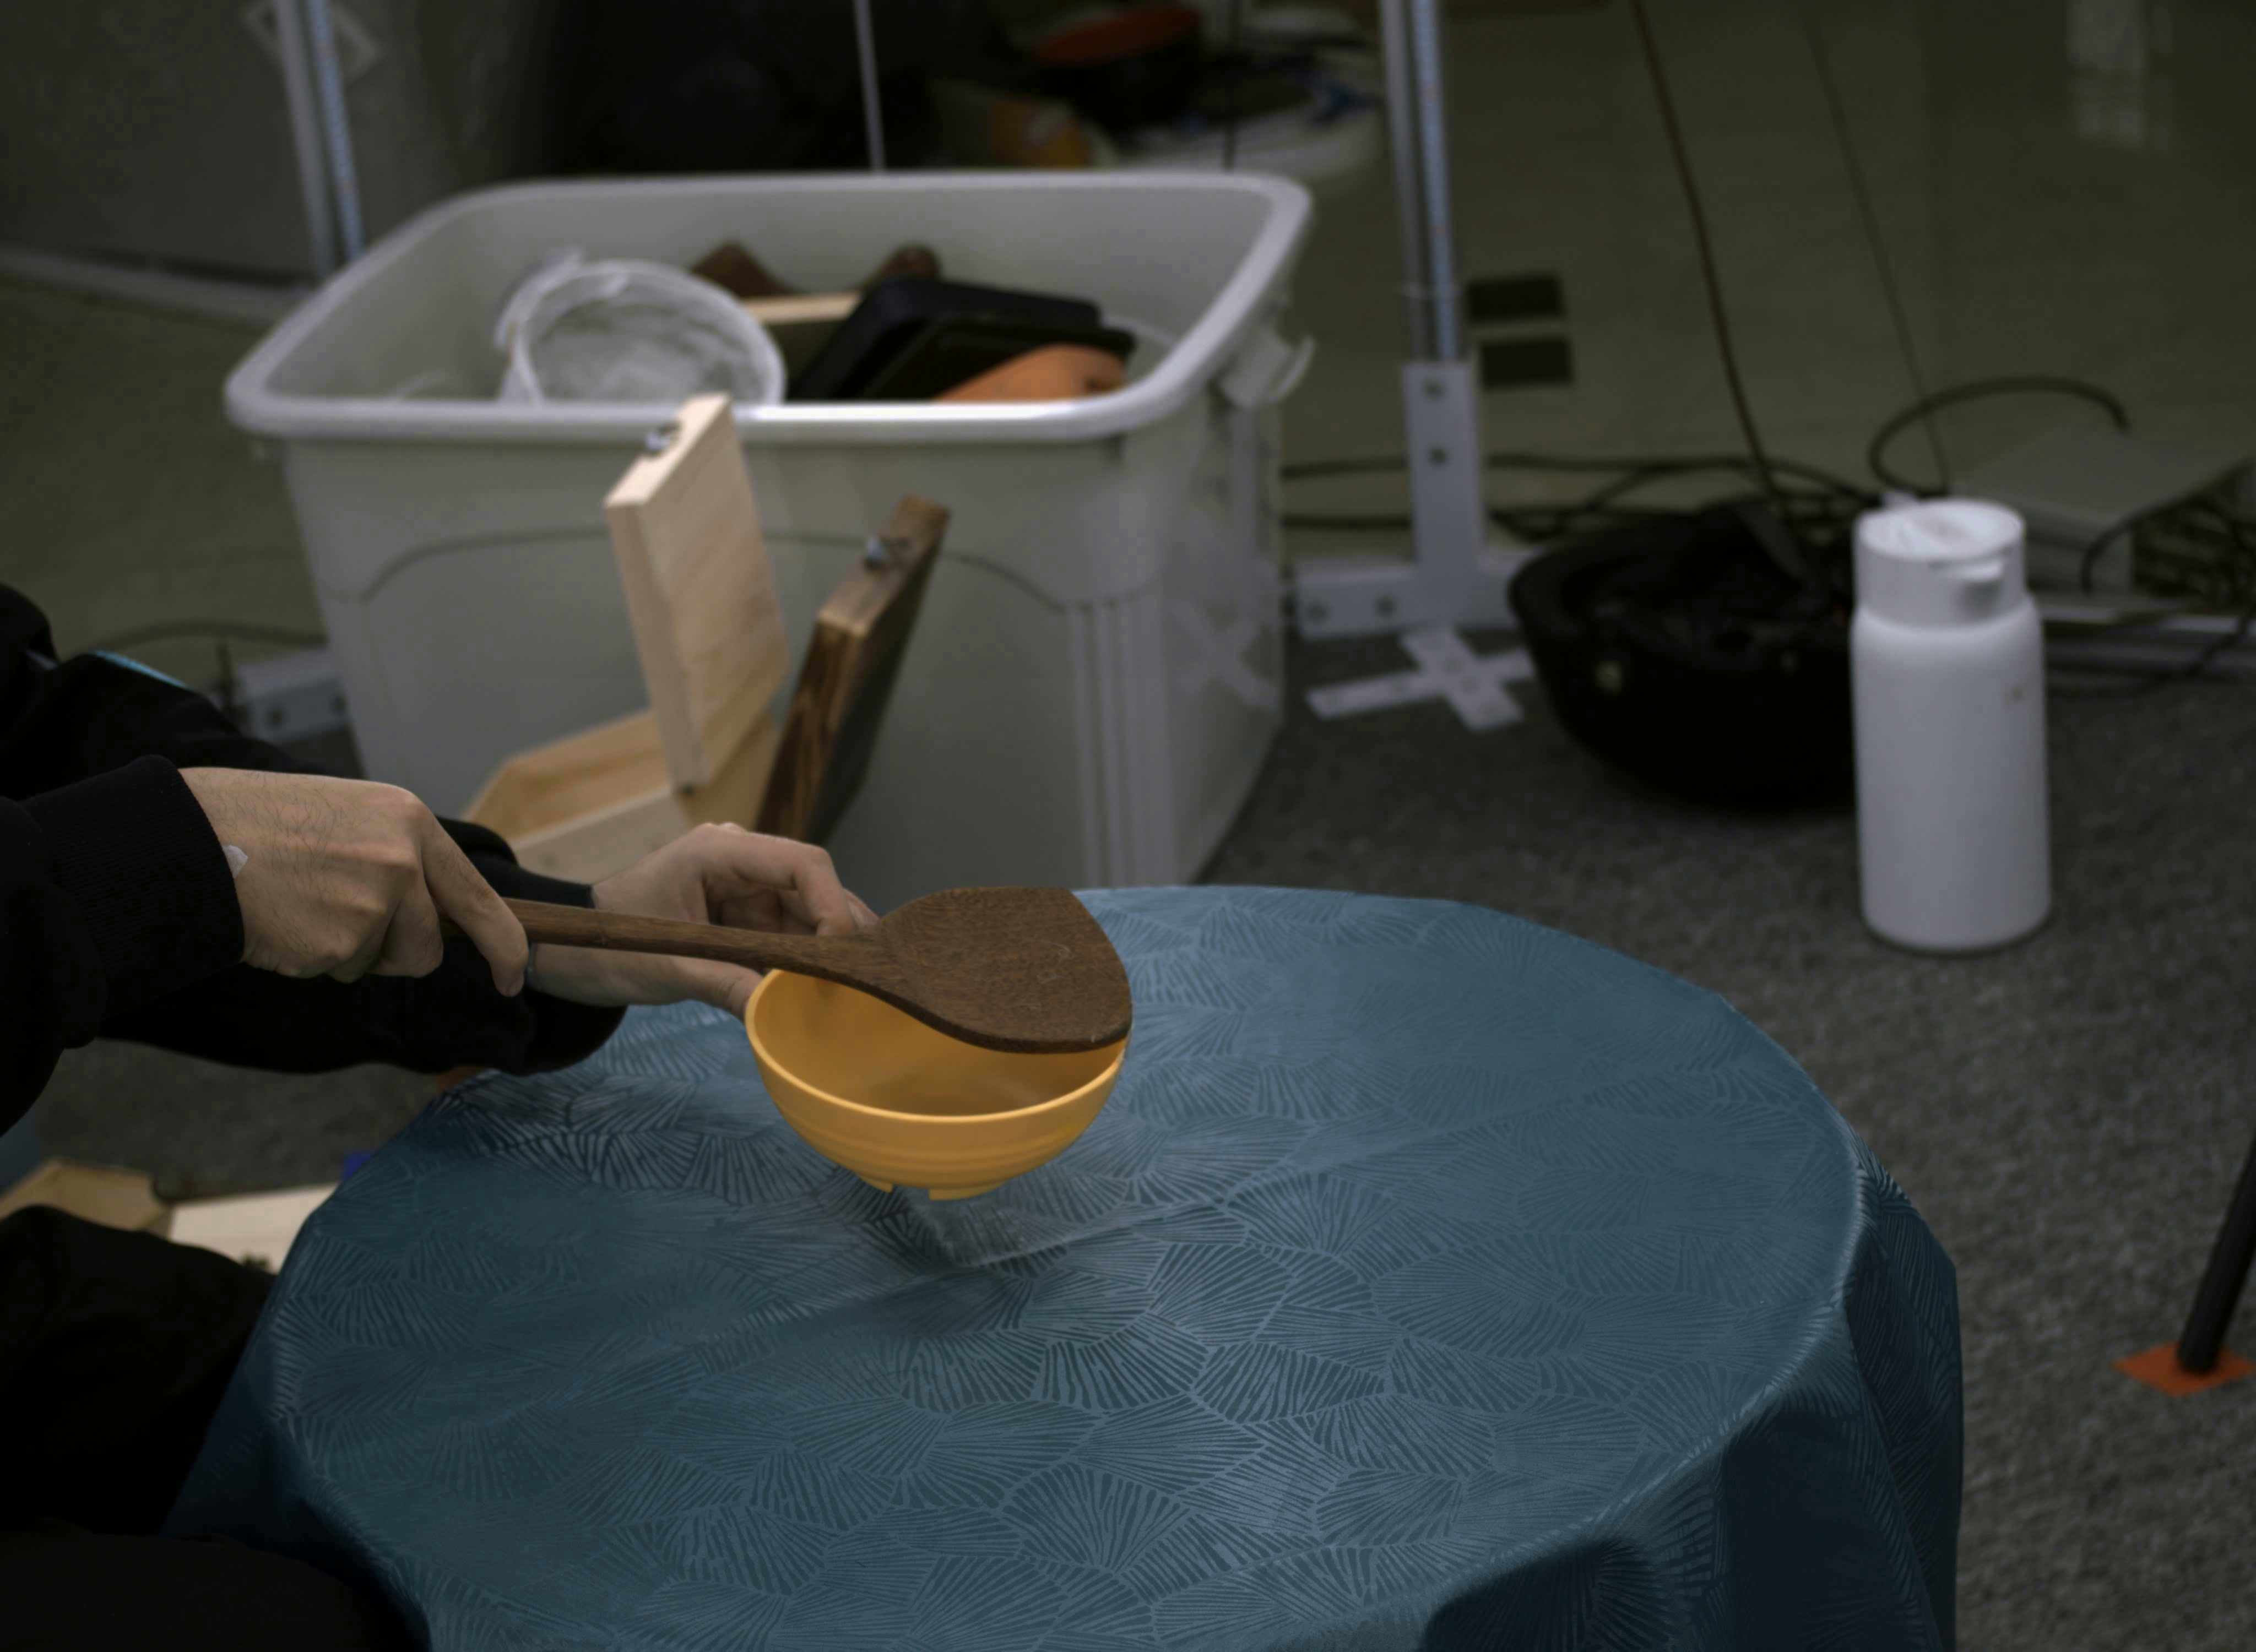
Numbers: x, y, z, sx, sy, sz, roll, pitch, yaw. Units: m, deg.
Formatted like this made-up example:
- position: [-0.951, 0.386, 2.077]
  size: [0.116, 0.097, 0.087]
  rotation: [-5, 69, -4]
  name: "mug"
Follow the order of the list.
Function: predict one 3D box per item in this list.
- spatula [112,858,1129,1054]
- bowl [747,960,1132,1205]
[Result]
- position: [-0.180, 0.040, 2.070]
  size: [0.386, 0.016, 0.094]
  rotation: [6, 36, -23]
  name: "spatula"
- position: [-0.072, 0.102, 2.123]
  size: [0.145, 0.061, 0.143]
  rotation: [3, 24, -1]
  name: "bowl"
